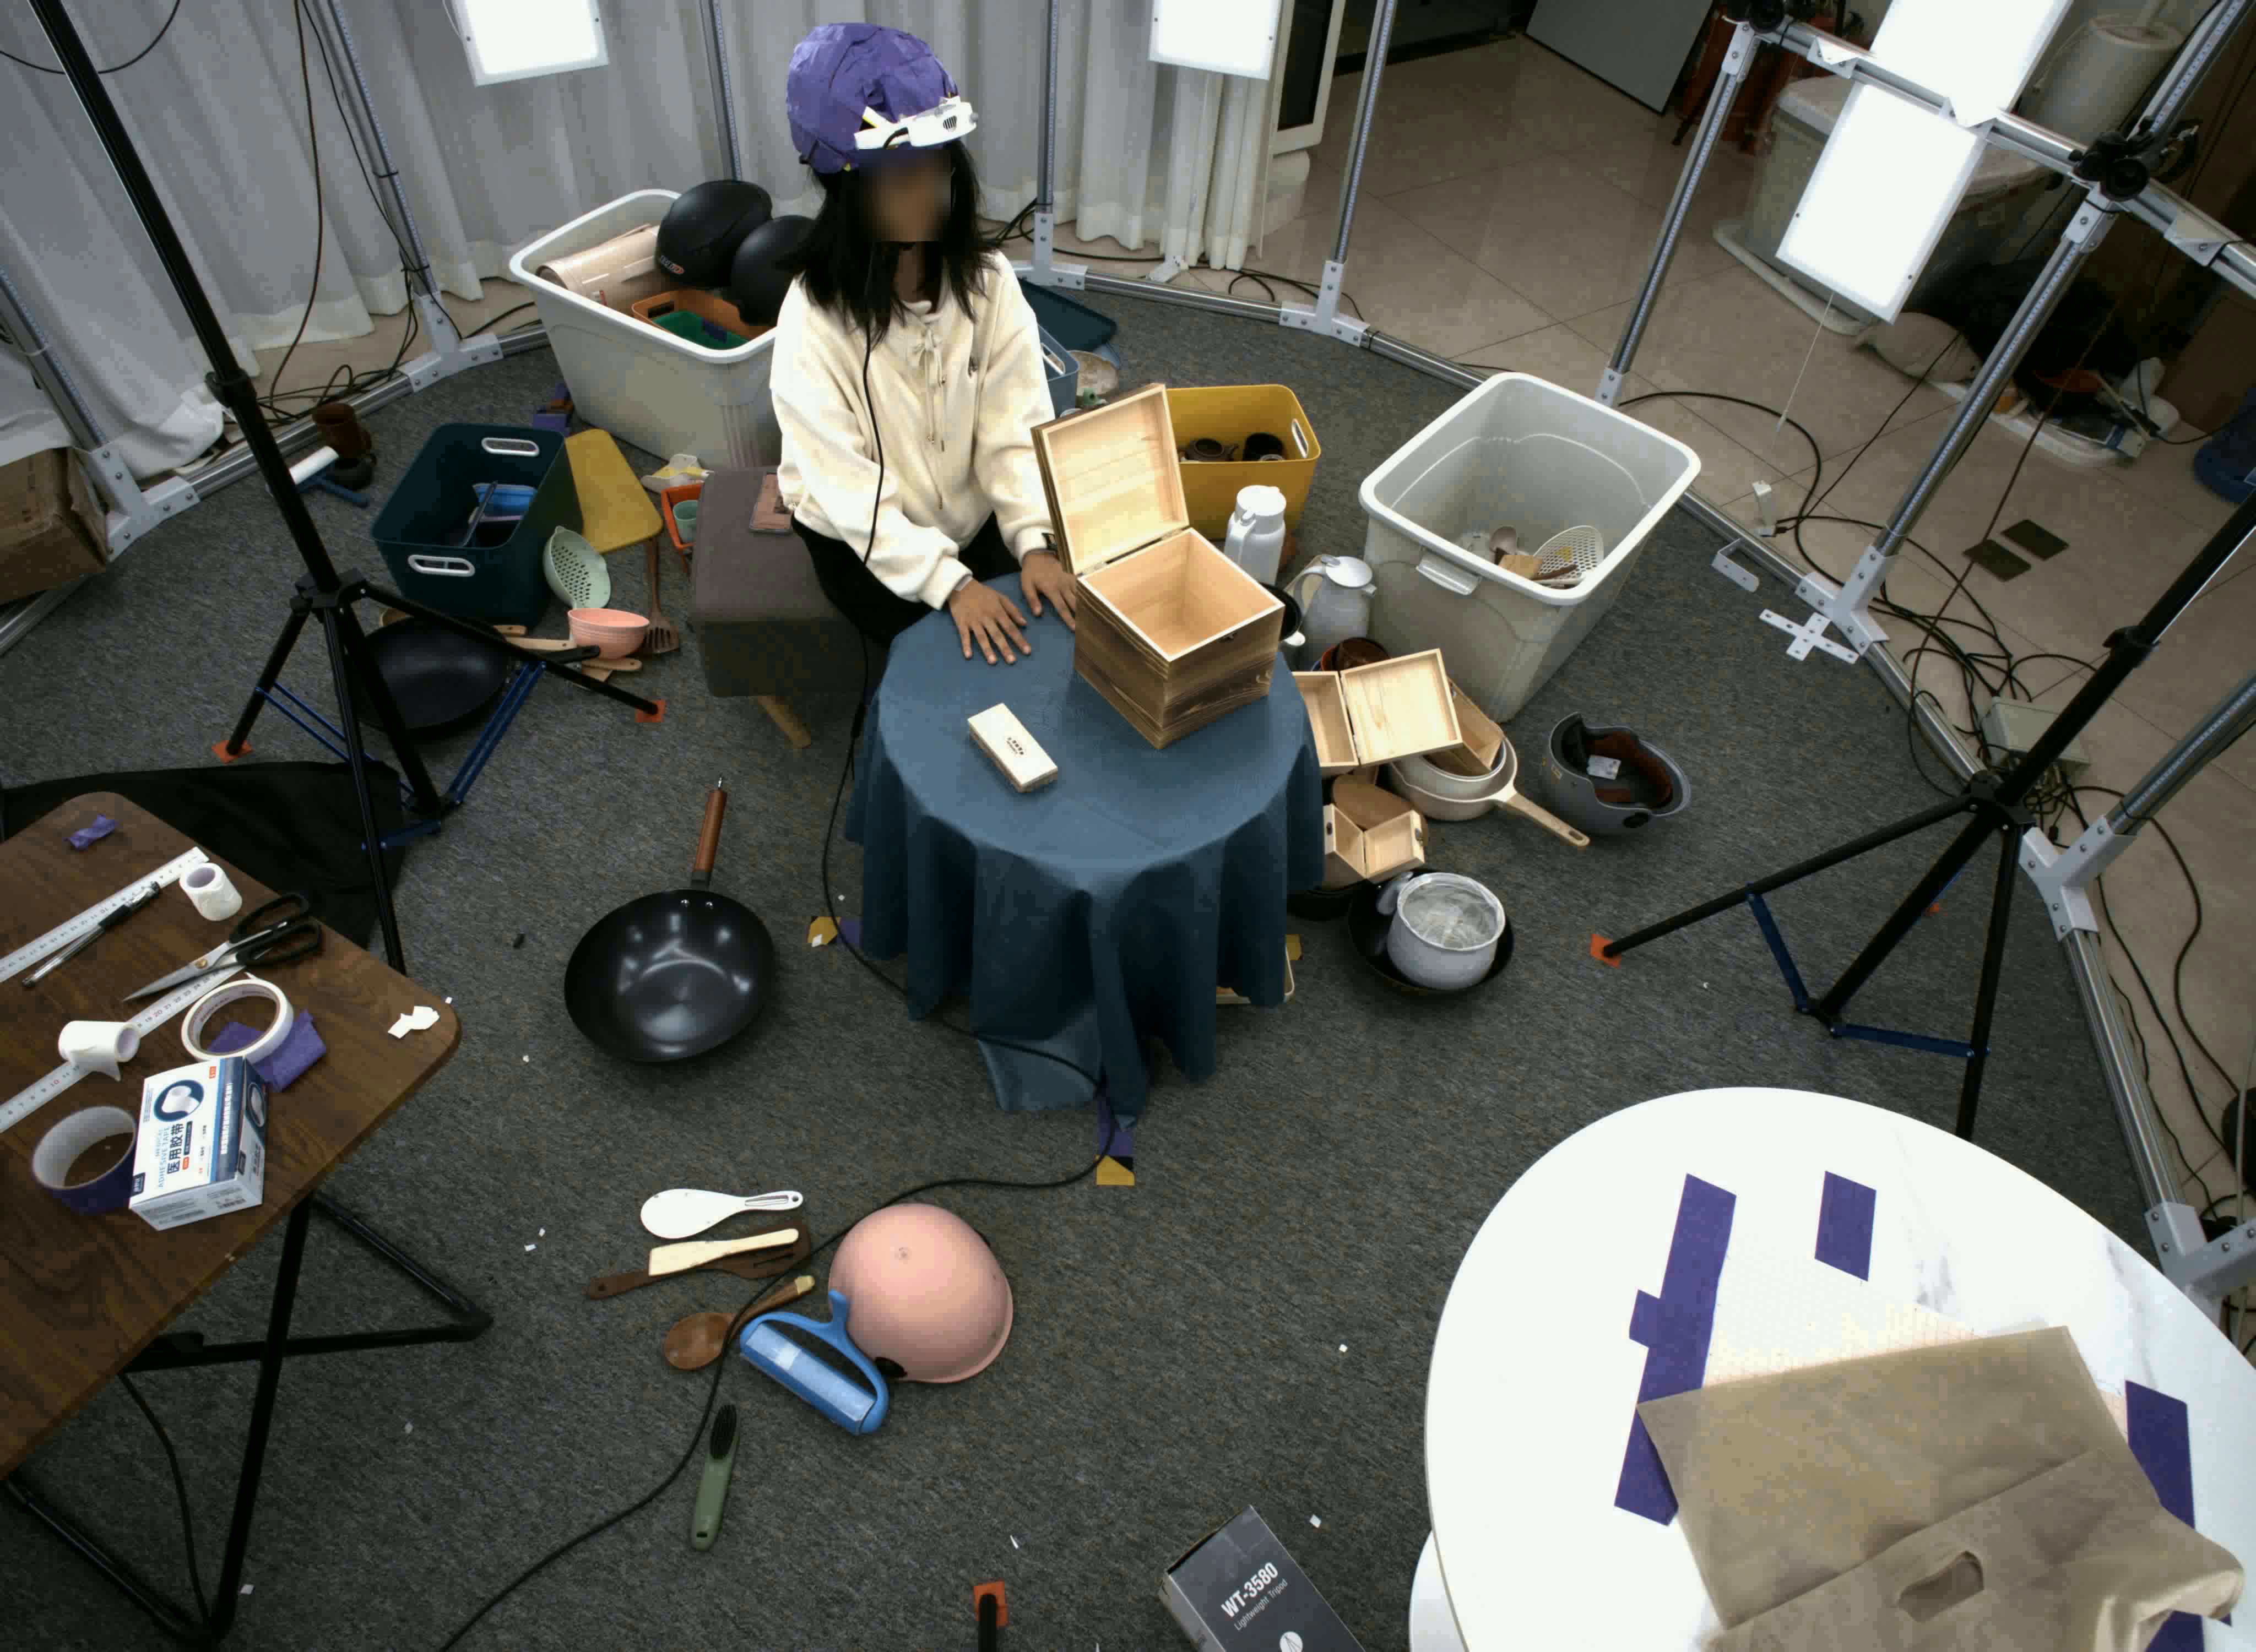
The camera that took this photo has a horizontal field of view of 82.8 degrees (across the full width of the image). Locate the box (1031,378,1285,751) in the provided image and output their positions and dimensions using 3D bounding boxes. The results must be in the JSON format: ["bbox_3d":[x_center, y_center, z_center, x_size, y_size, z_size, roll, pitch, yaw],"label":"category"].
[{"bbox_3d":[0.038,-0.355,1.747,0.210,0.366,0.328,-29,57,-25],"label":"box"}]

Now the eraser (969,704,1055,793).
[{"bbox_3d":[-0.157,-0.103,1.731,0.057,0.028,0.142,-26,55,-20],"label":"eraser"}]
